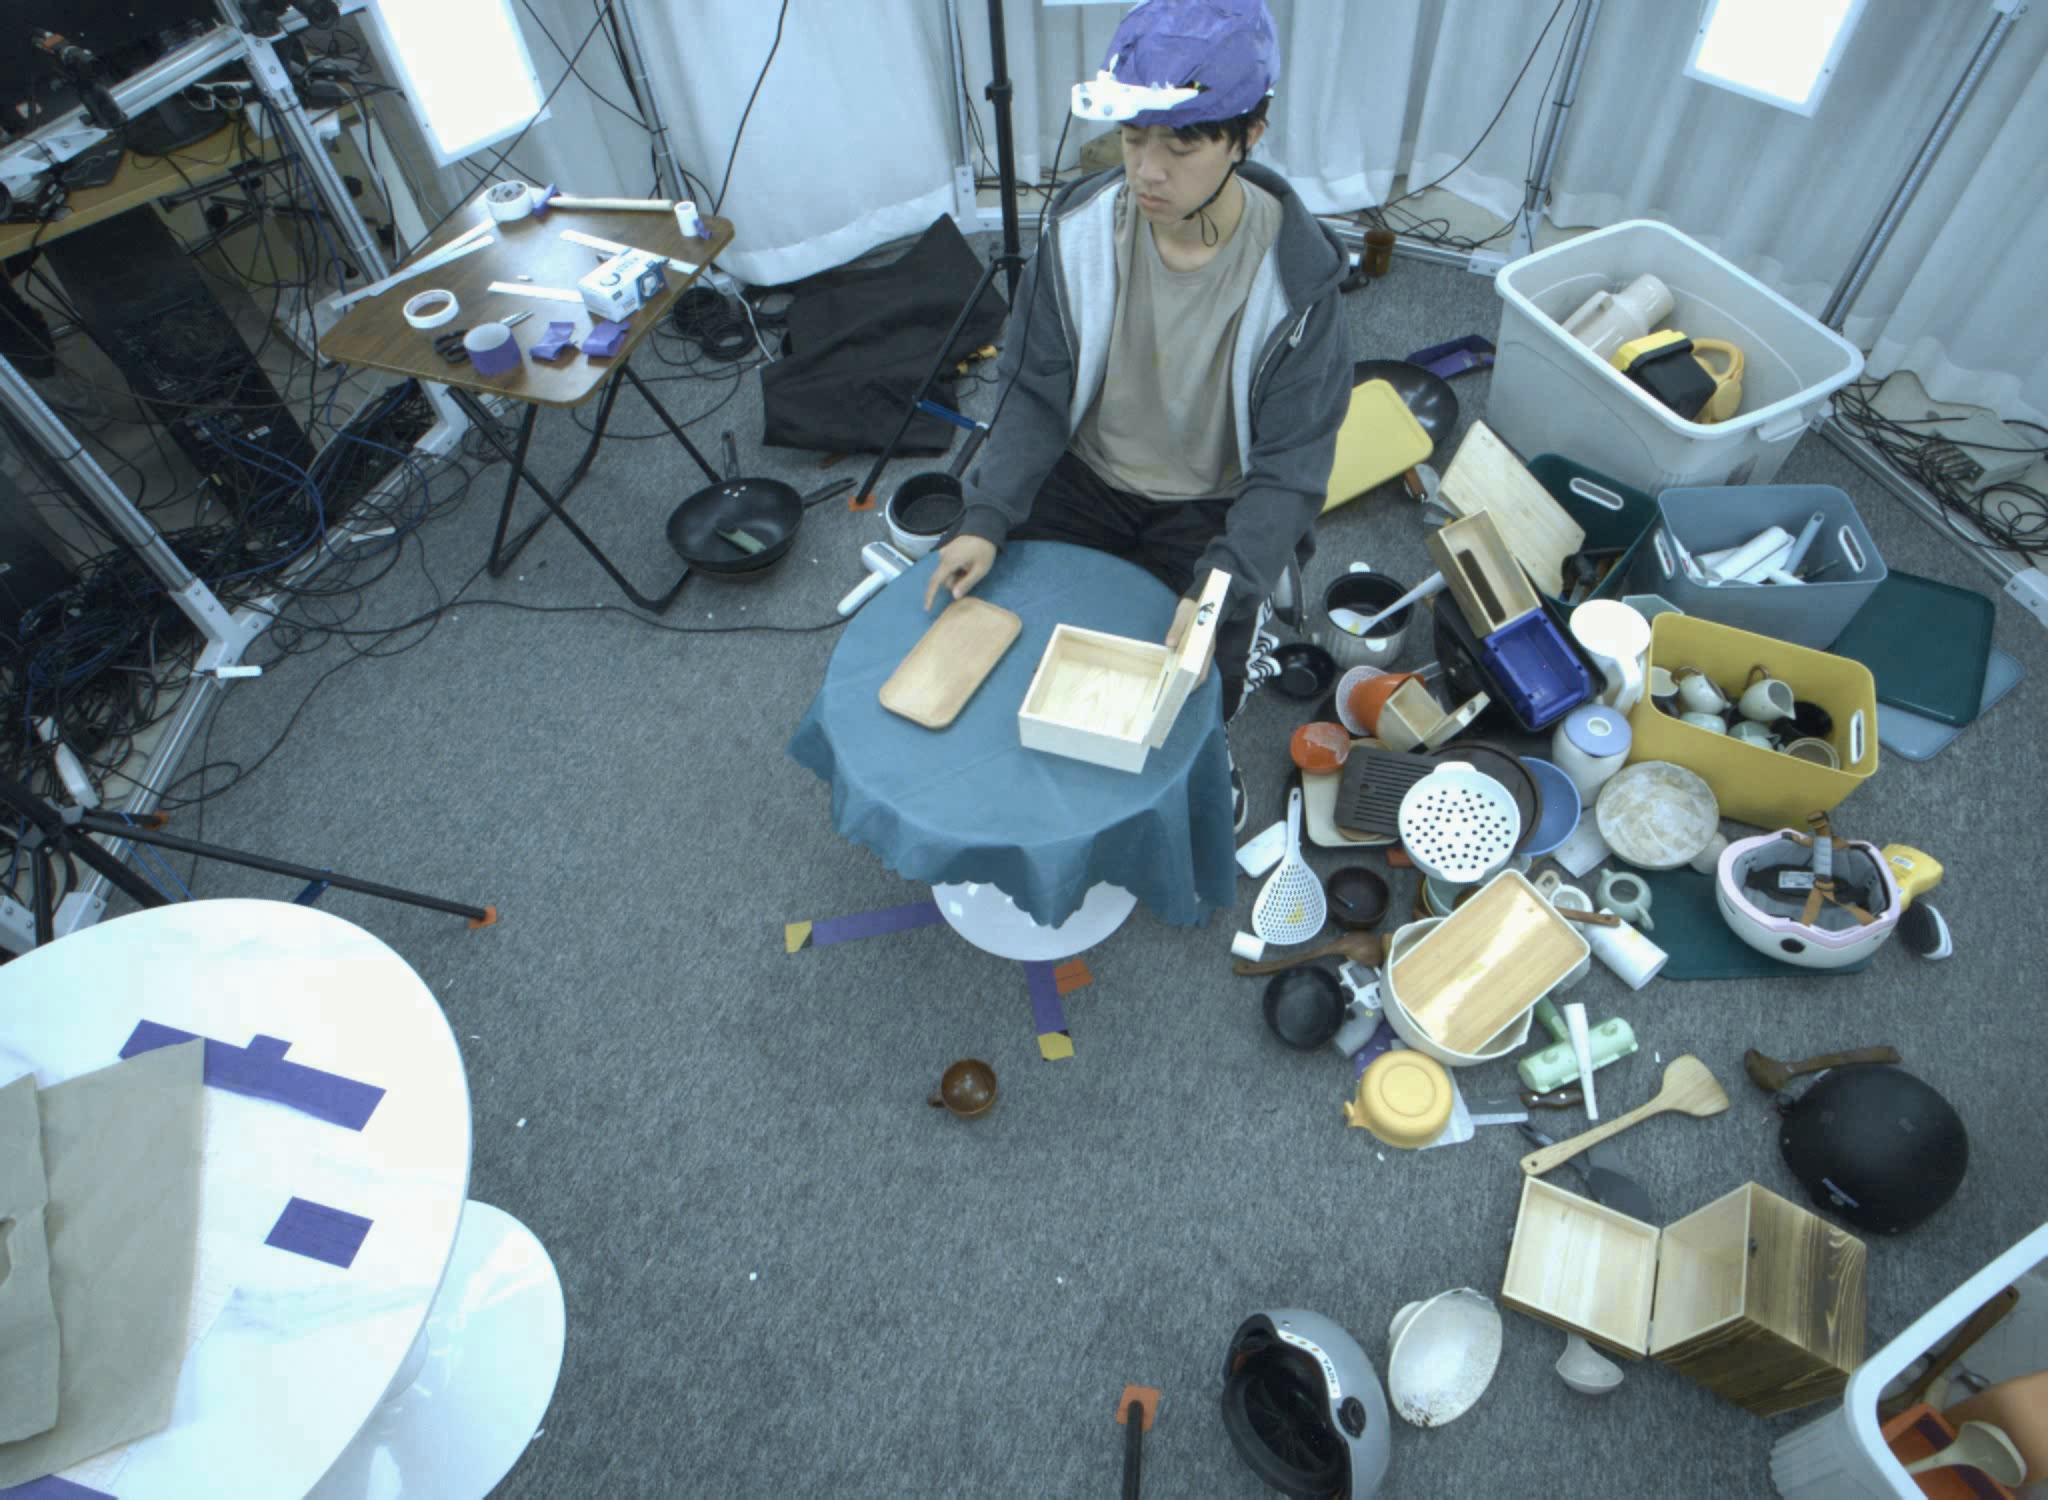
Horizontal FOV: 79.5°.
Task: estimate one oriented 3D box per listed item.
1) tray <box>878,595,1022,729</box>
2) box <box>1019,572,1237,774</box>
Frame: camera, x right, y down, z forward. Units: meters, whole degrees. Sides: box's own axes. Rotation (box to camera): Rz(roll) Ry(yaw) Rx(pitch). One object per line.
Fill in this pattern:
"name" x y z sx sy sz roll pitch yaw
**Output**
"tray" -0.112 -0.137 1.881 0.129 0.023 0.251 26 59 16
"box" 0.137 -0.121 1.721 0.263 0.256 0.181 13 54 11
